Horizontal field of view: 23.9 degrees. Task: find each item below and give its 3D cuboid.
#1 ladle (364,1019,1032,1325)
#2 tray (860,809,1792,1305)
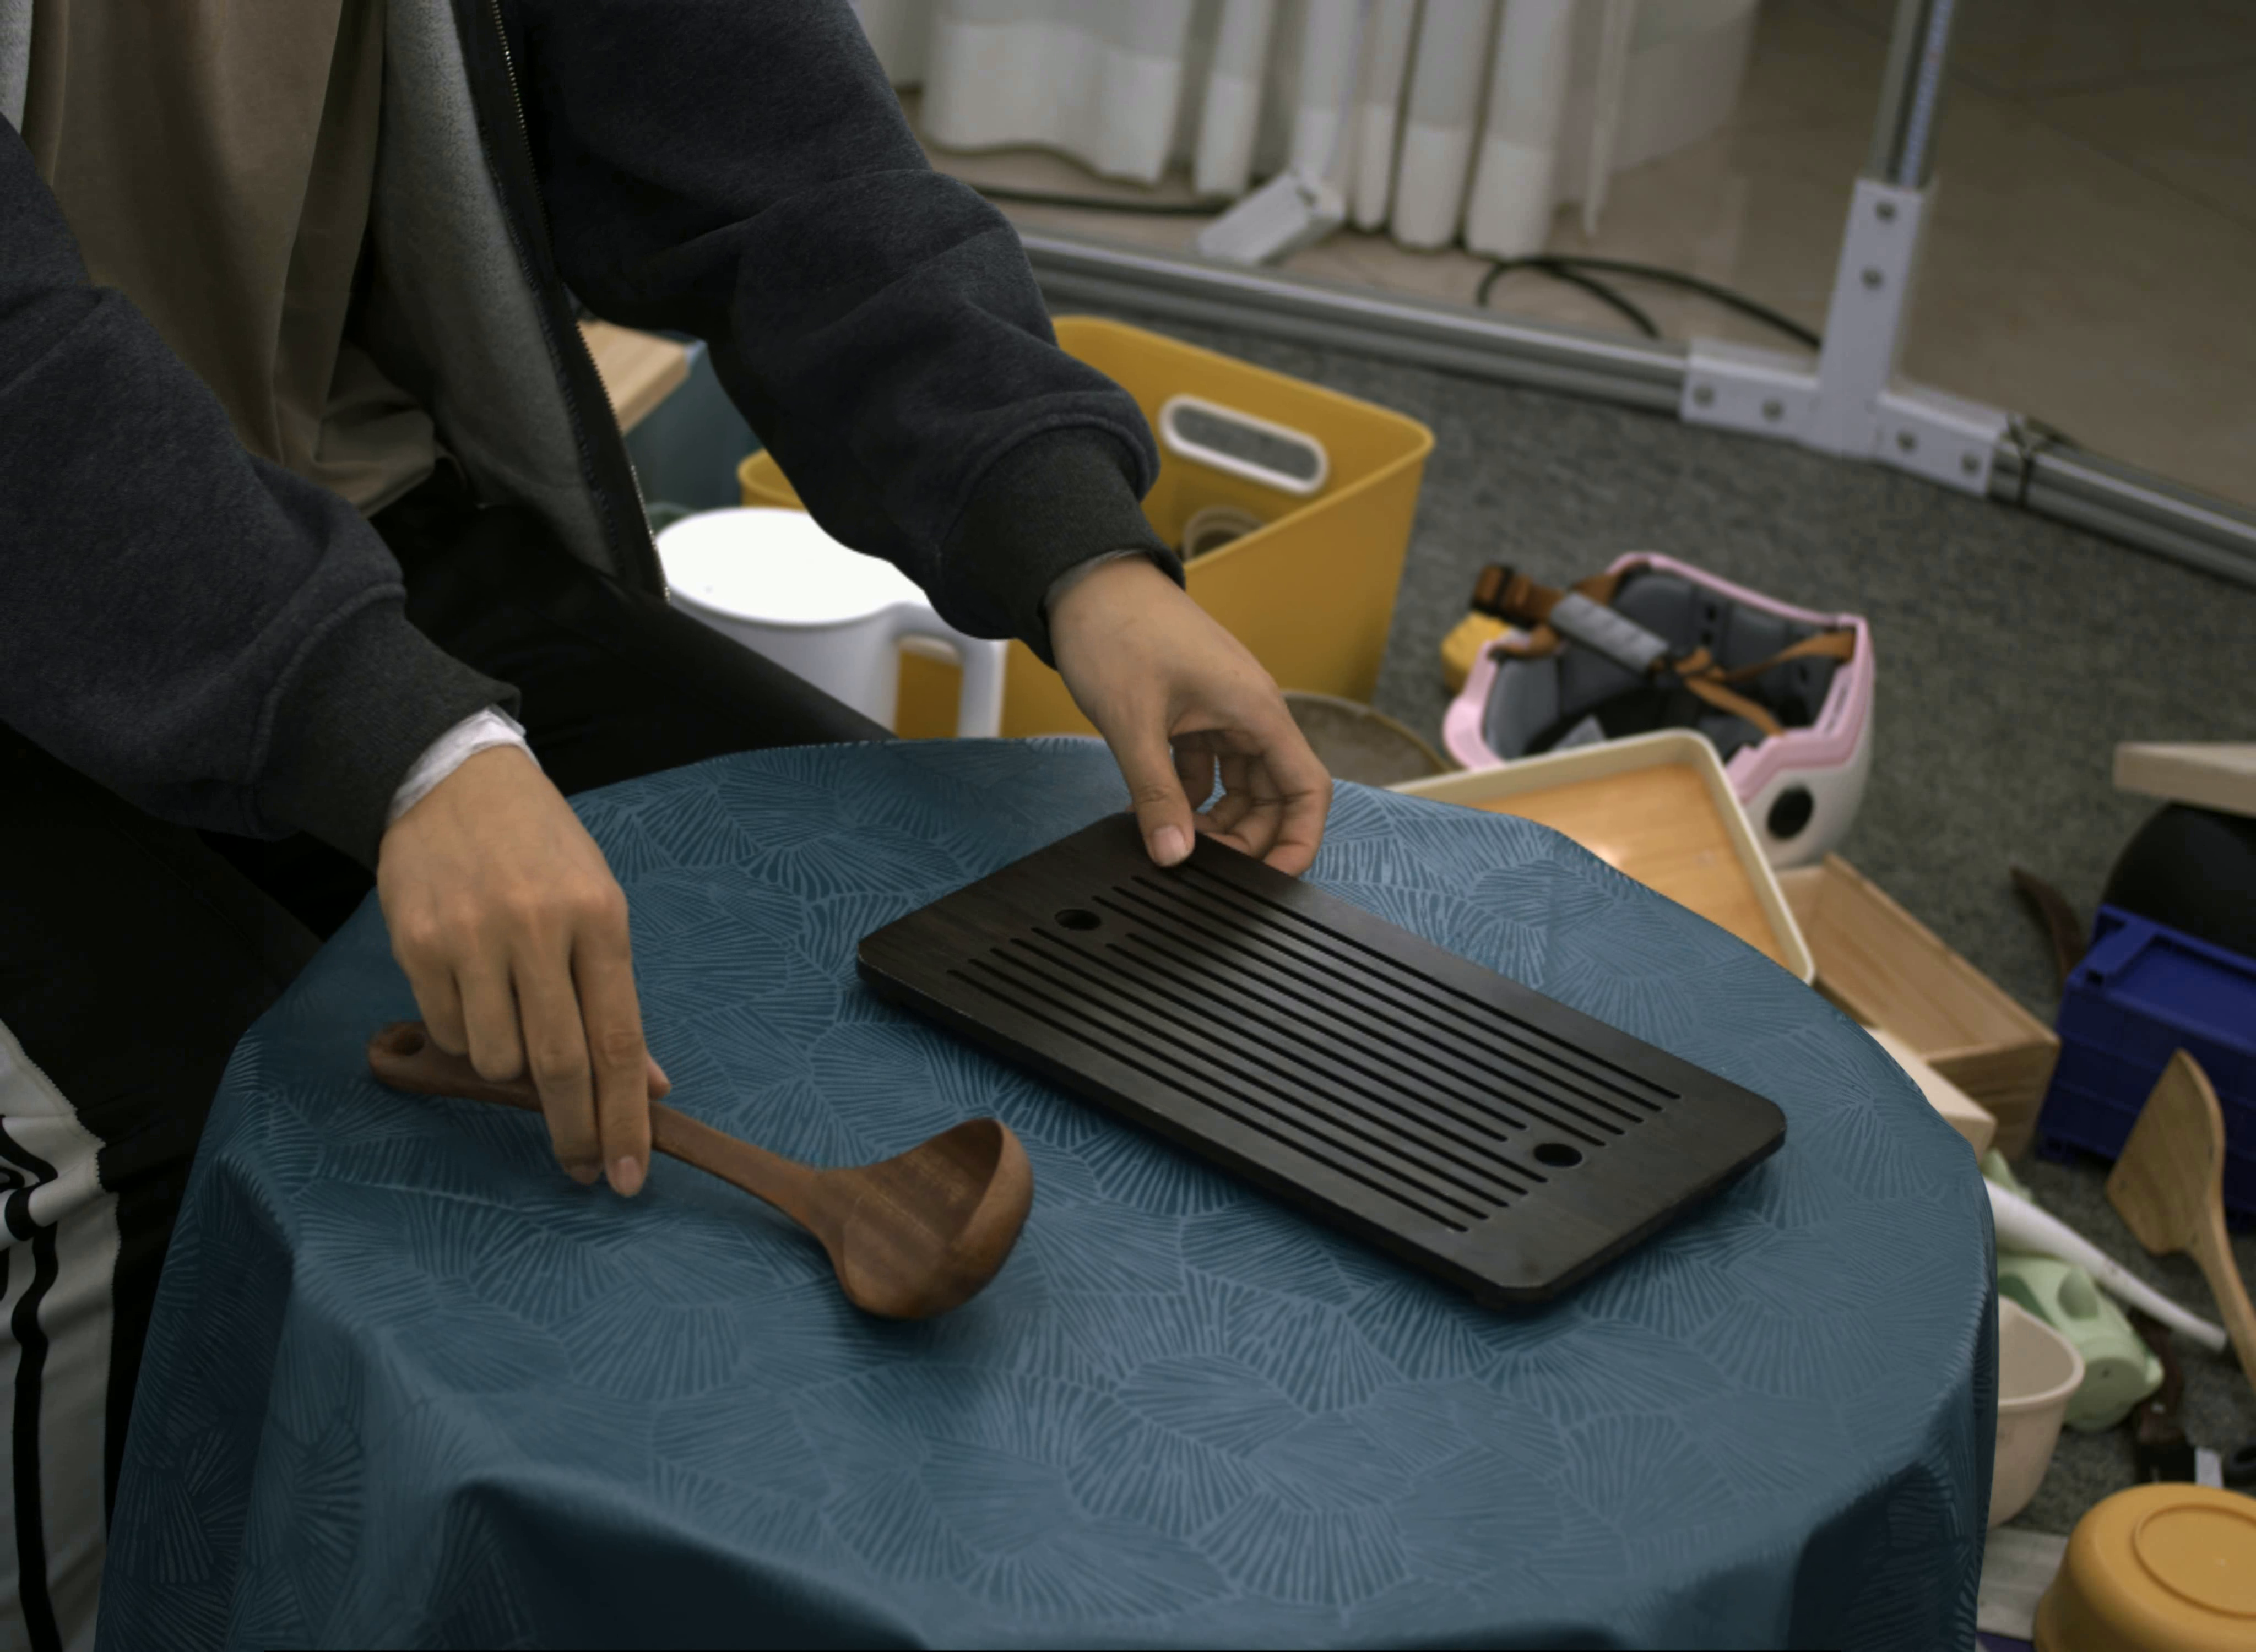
[{"bbox_3d":[-0.148,0.098,1.750,0.261,0.064,0.077,19,56,23],"label":"ladle"},{"bbox_3d":[0.067,0.078,1.883,0.308,0.018,0.169,25,33,33],"label":"tray"}]
